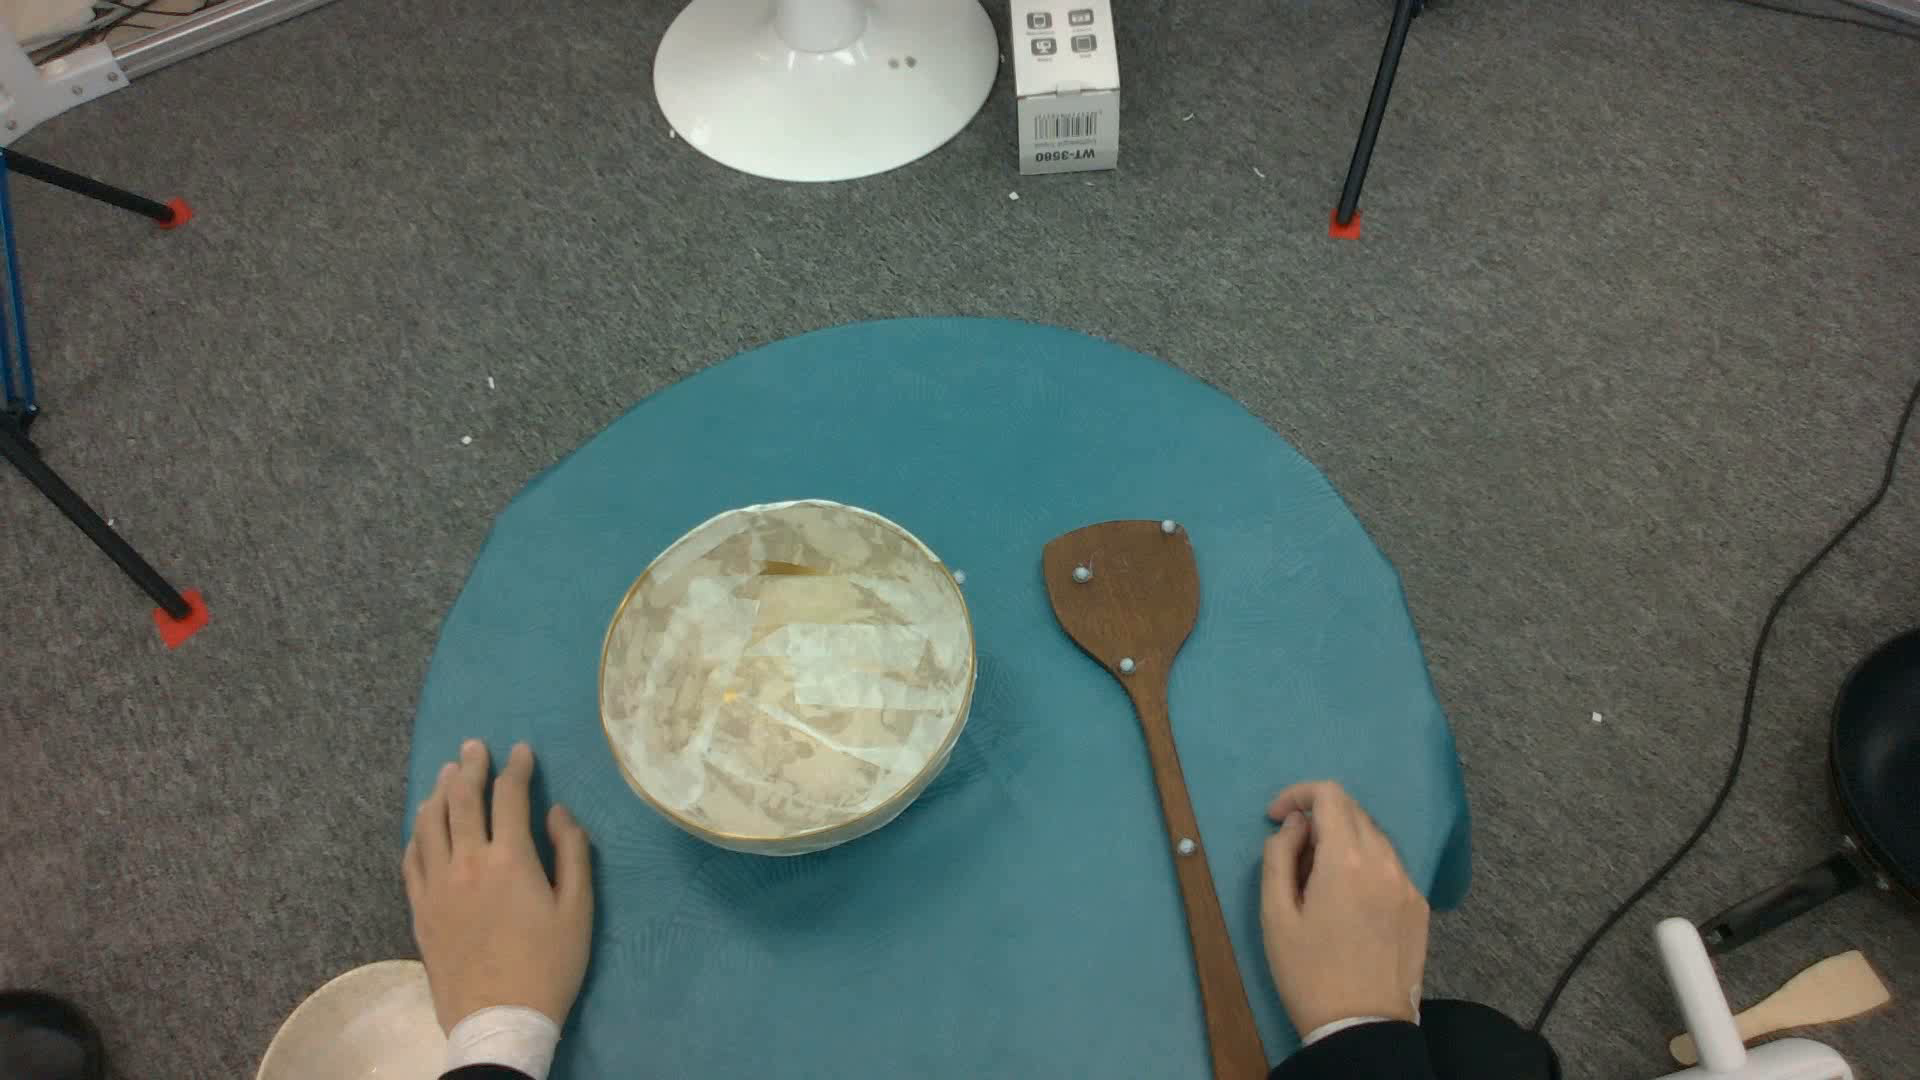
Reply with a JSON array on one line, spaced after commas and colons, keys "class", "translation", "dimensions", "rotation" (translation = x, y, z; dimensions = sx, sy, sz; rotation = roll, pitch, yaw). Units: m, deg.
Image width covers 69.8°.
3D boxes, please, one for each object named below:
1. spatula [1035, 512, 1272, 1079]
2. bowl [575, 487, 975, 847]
[{"class": "spatula", "translation": [0.118, 0.148, 0.761], "dimensions": [0.096, 0.016, 0.387], "rotation": [-8, 58, -3]}, {"class": "bowl", "translation": [-0.097, 0.081, 0.761], "dimensions": [0.215, 0.094, 0.215], "rotation": [0, 58, 0]}]
